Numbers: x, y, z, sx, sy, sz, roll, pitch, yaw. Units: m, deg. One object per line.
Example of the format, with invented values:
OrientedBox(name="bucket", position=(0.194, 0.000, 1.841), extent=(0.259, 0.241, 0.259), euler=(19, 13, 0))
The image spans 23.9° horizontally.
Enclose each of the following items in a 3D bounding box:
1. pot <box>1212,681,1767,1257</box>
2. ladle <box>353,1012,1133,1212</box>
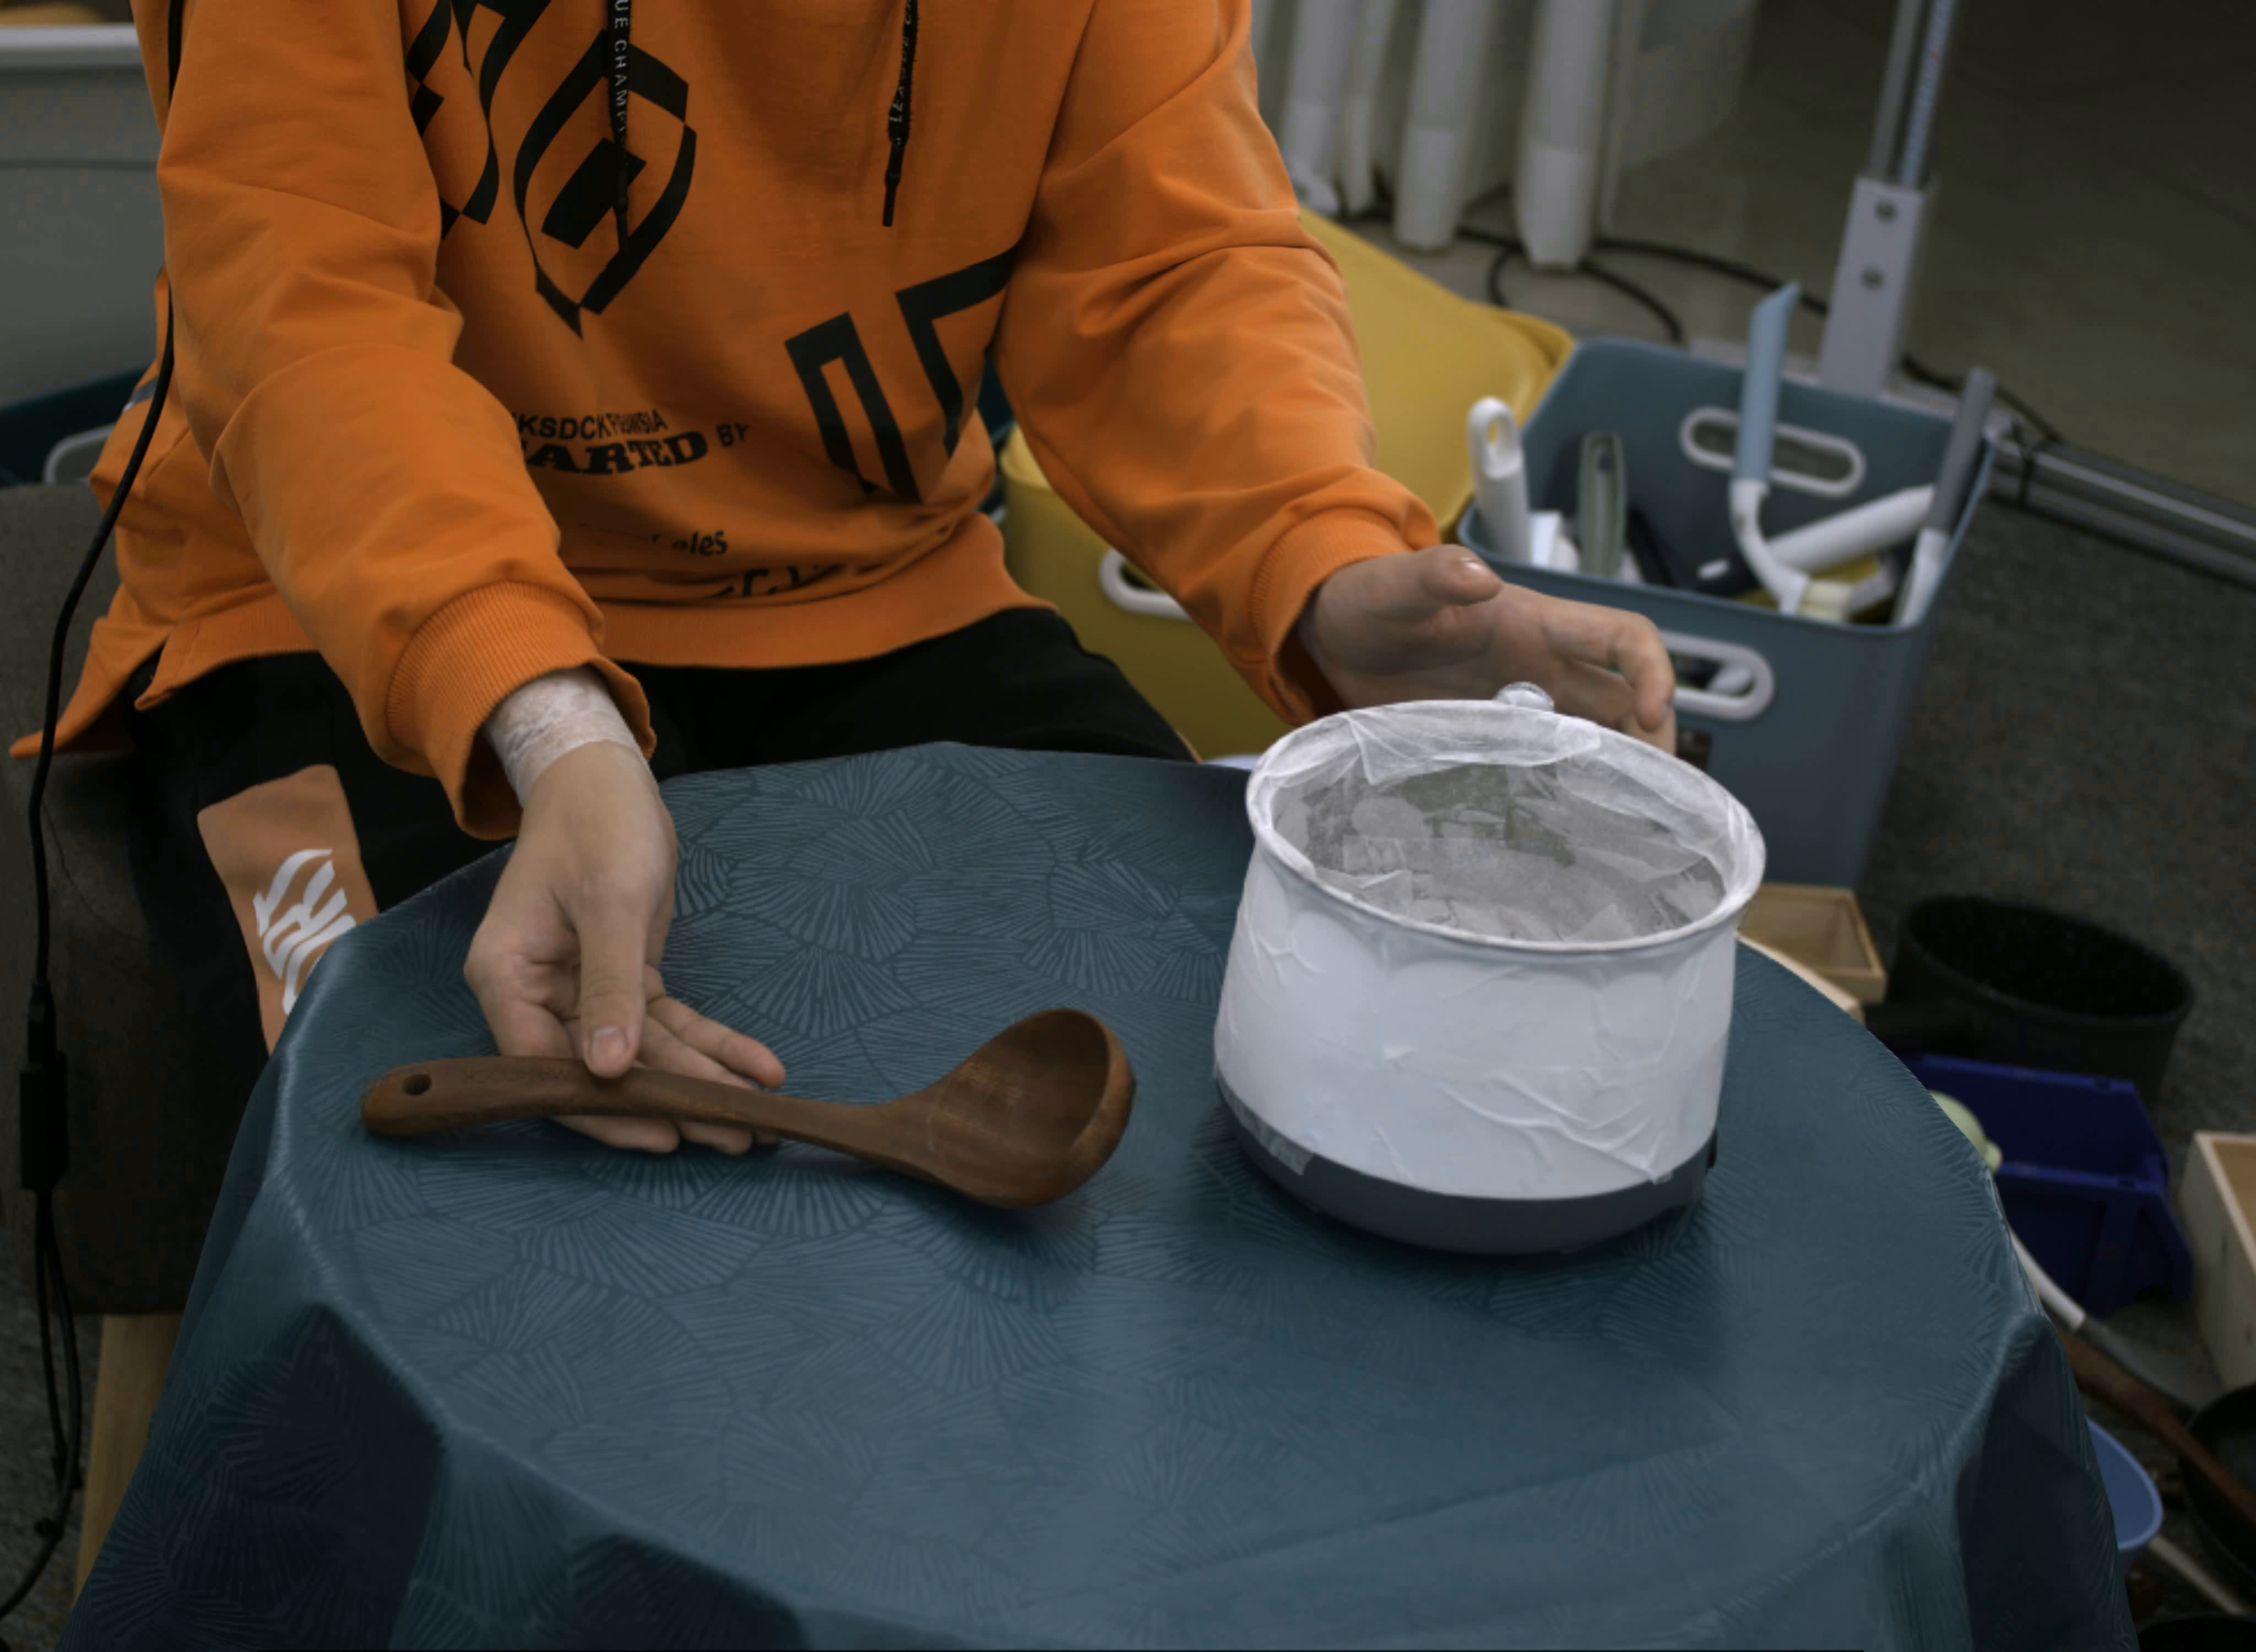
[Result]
OrientedBox(name="pot", position=(0.123, 0.041, 1.841), extent=(0.178, 0.136, 0.235), euler=(9, 27, 3))
OrientedBox(name="ladle", position=(-0.128, 0.087, 1.777), extent=(0.259, 0.065, 0.077), euler=(6, 40, -3))
